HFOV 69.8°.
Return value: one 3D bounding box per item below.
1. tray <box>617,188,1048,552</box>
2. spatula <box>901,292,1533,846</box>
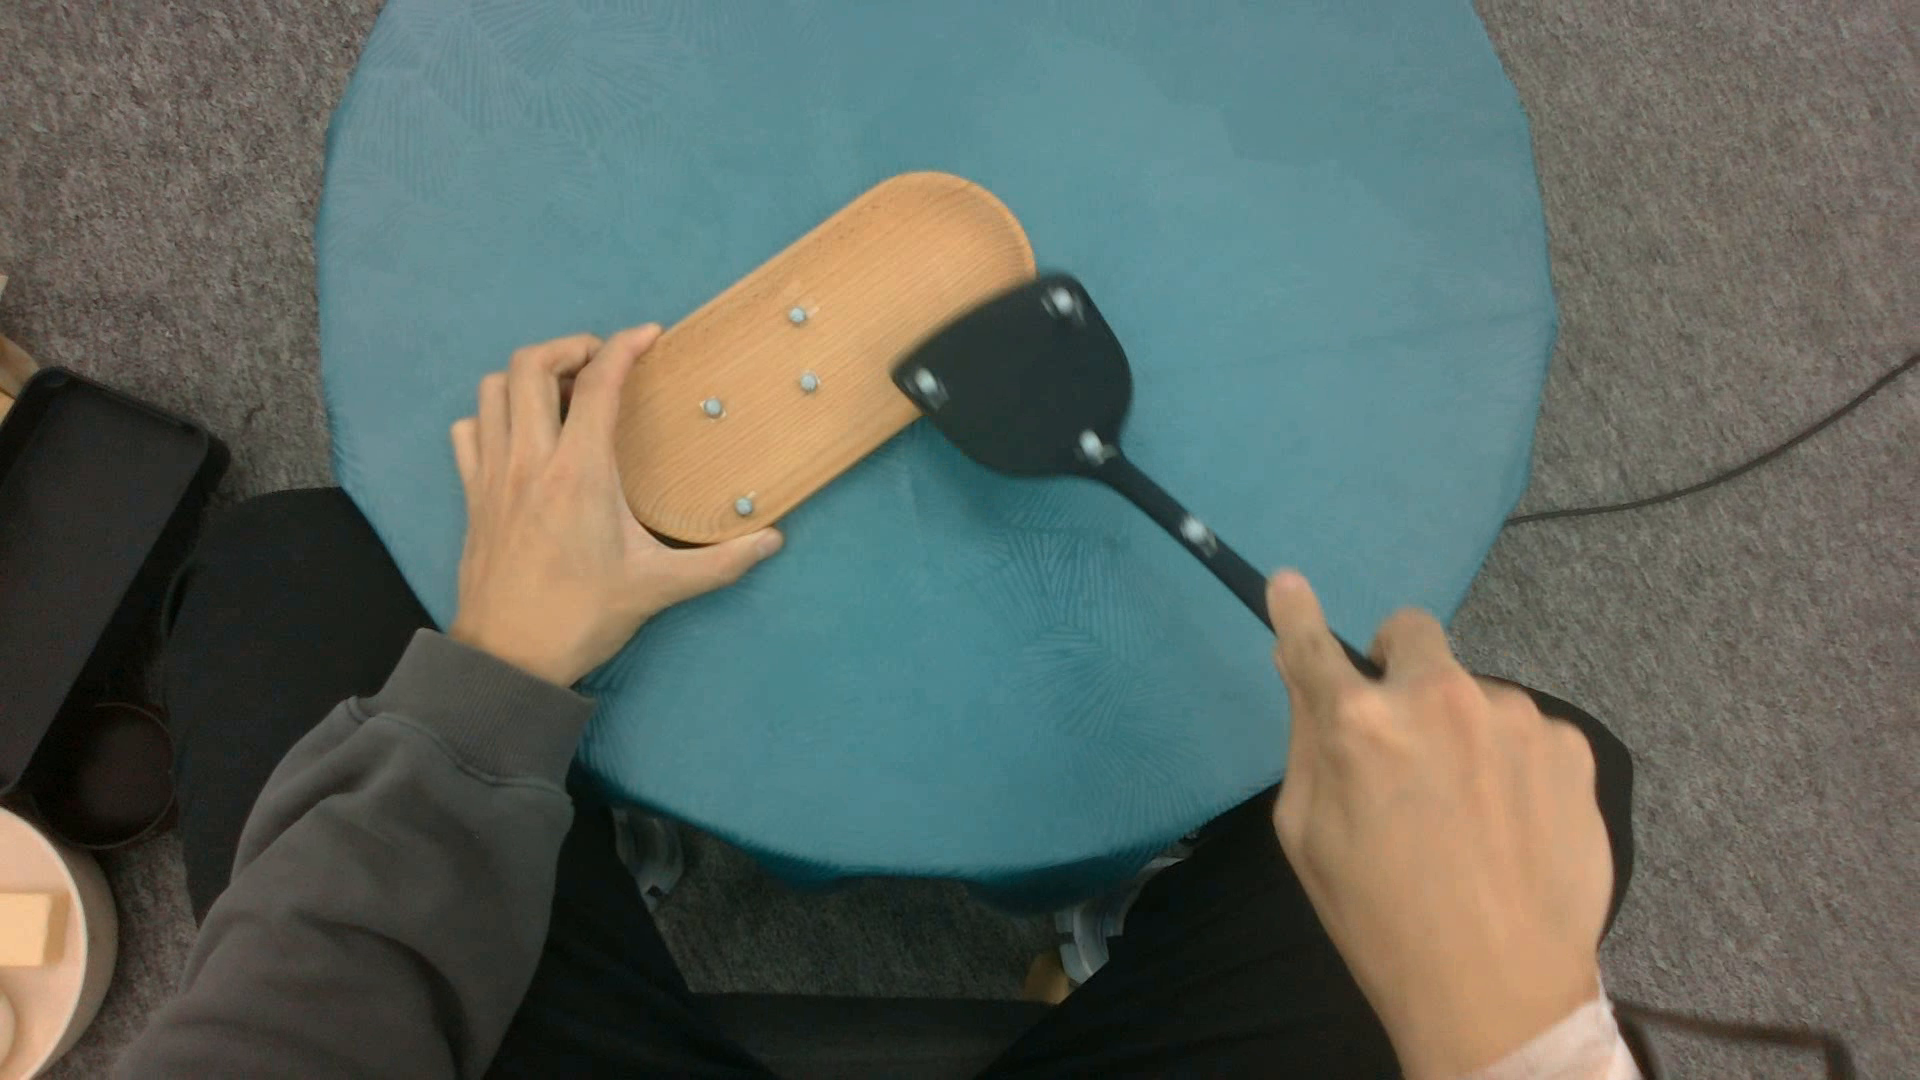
[{"bbox_3d":[-0.060,-0.083,0.666,0.231,0.020,0.101,-37,87,-9],"label":"tray"},{"bbox_3d":[0.092,0.000,0.532,0.100,0.040,0.326,-32,44,-11],"label":"spatula"}]
